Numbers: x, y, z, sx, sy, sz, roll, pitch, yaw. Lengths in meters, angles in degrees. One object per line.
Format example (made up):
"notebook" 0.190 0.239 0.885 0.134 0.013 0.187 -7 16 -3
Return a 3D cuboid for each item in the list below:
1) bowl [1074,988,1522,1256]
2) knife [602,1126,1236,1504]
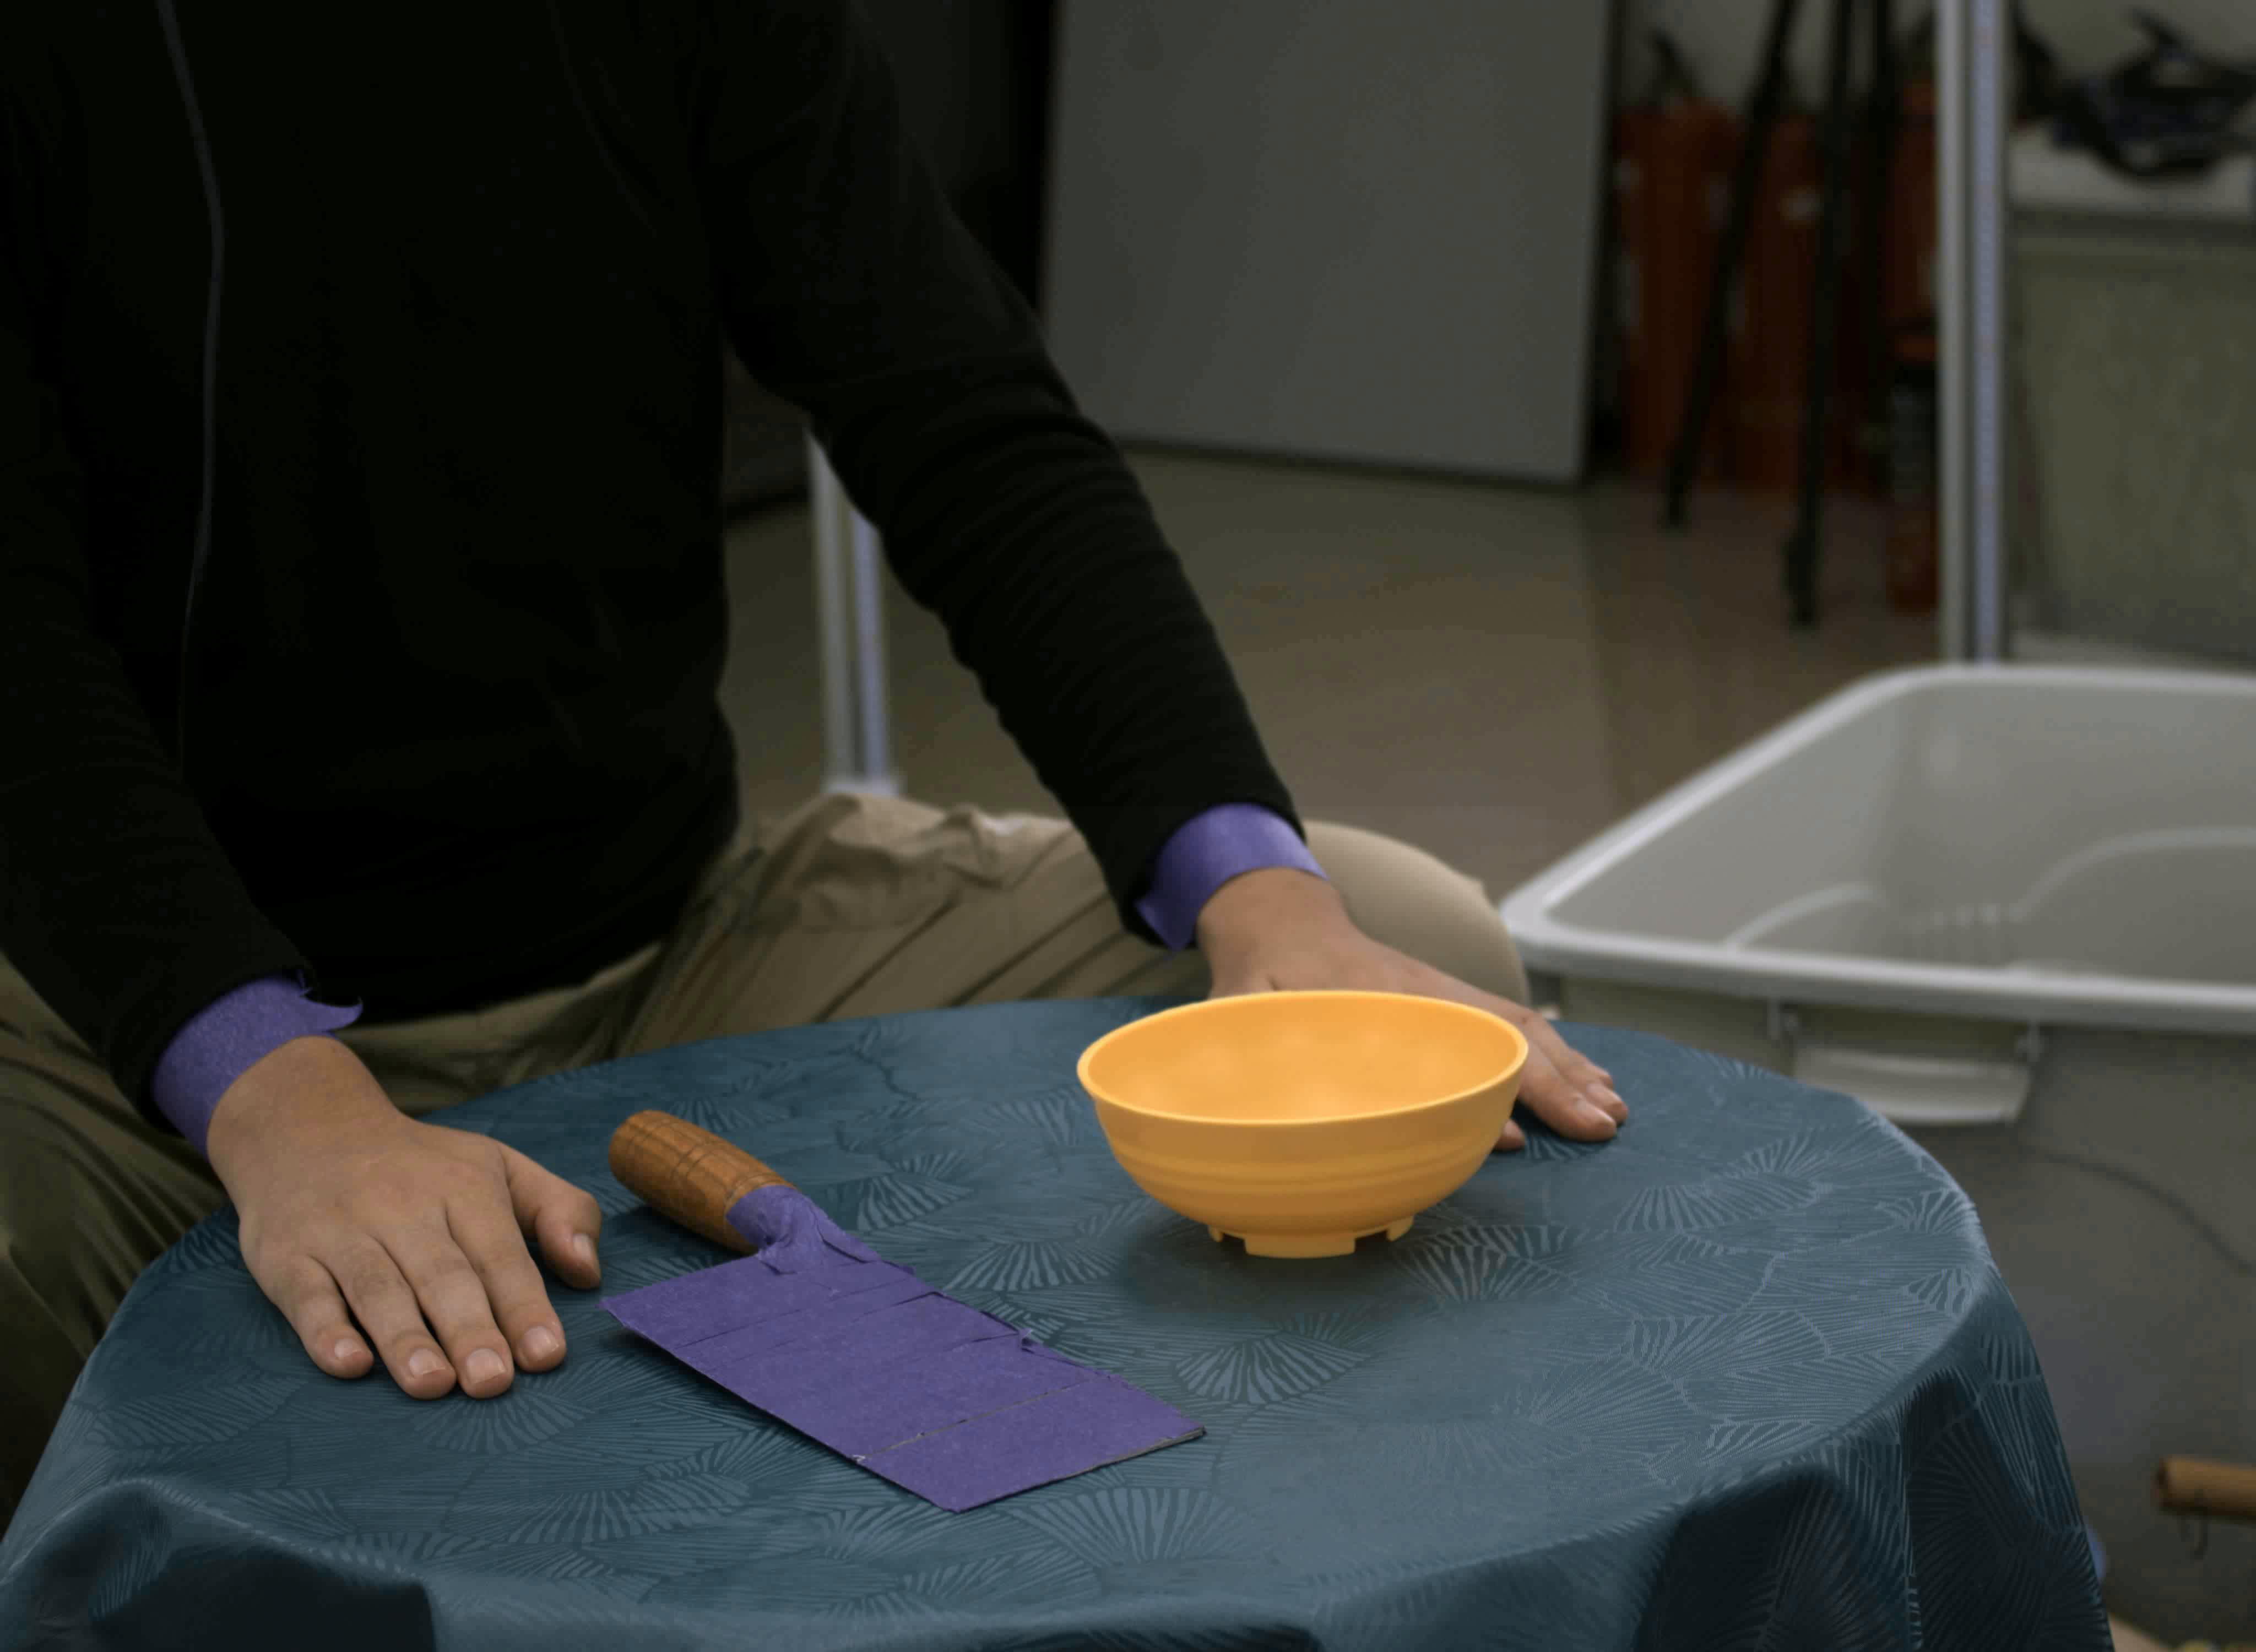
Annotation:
"bowl" 0.055 0.099 1.720 0.143 0.061 0.145 -2 13 0
"knife" -0.097 0.146 1.649 0.101 0.032 0.318 -13 17 -32
